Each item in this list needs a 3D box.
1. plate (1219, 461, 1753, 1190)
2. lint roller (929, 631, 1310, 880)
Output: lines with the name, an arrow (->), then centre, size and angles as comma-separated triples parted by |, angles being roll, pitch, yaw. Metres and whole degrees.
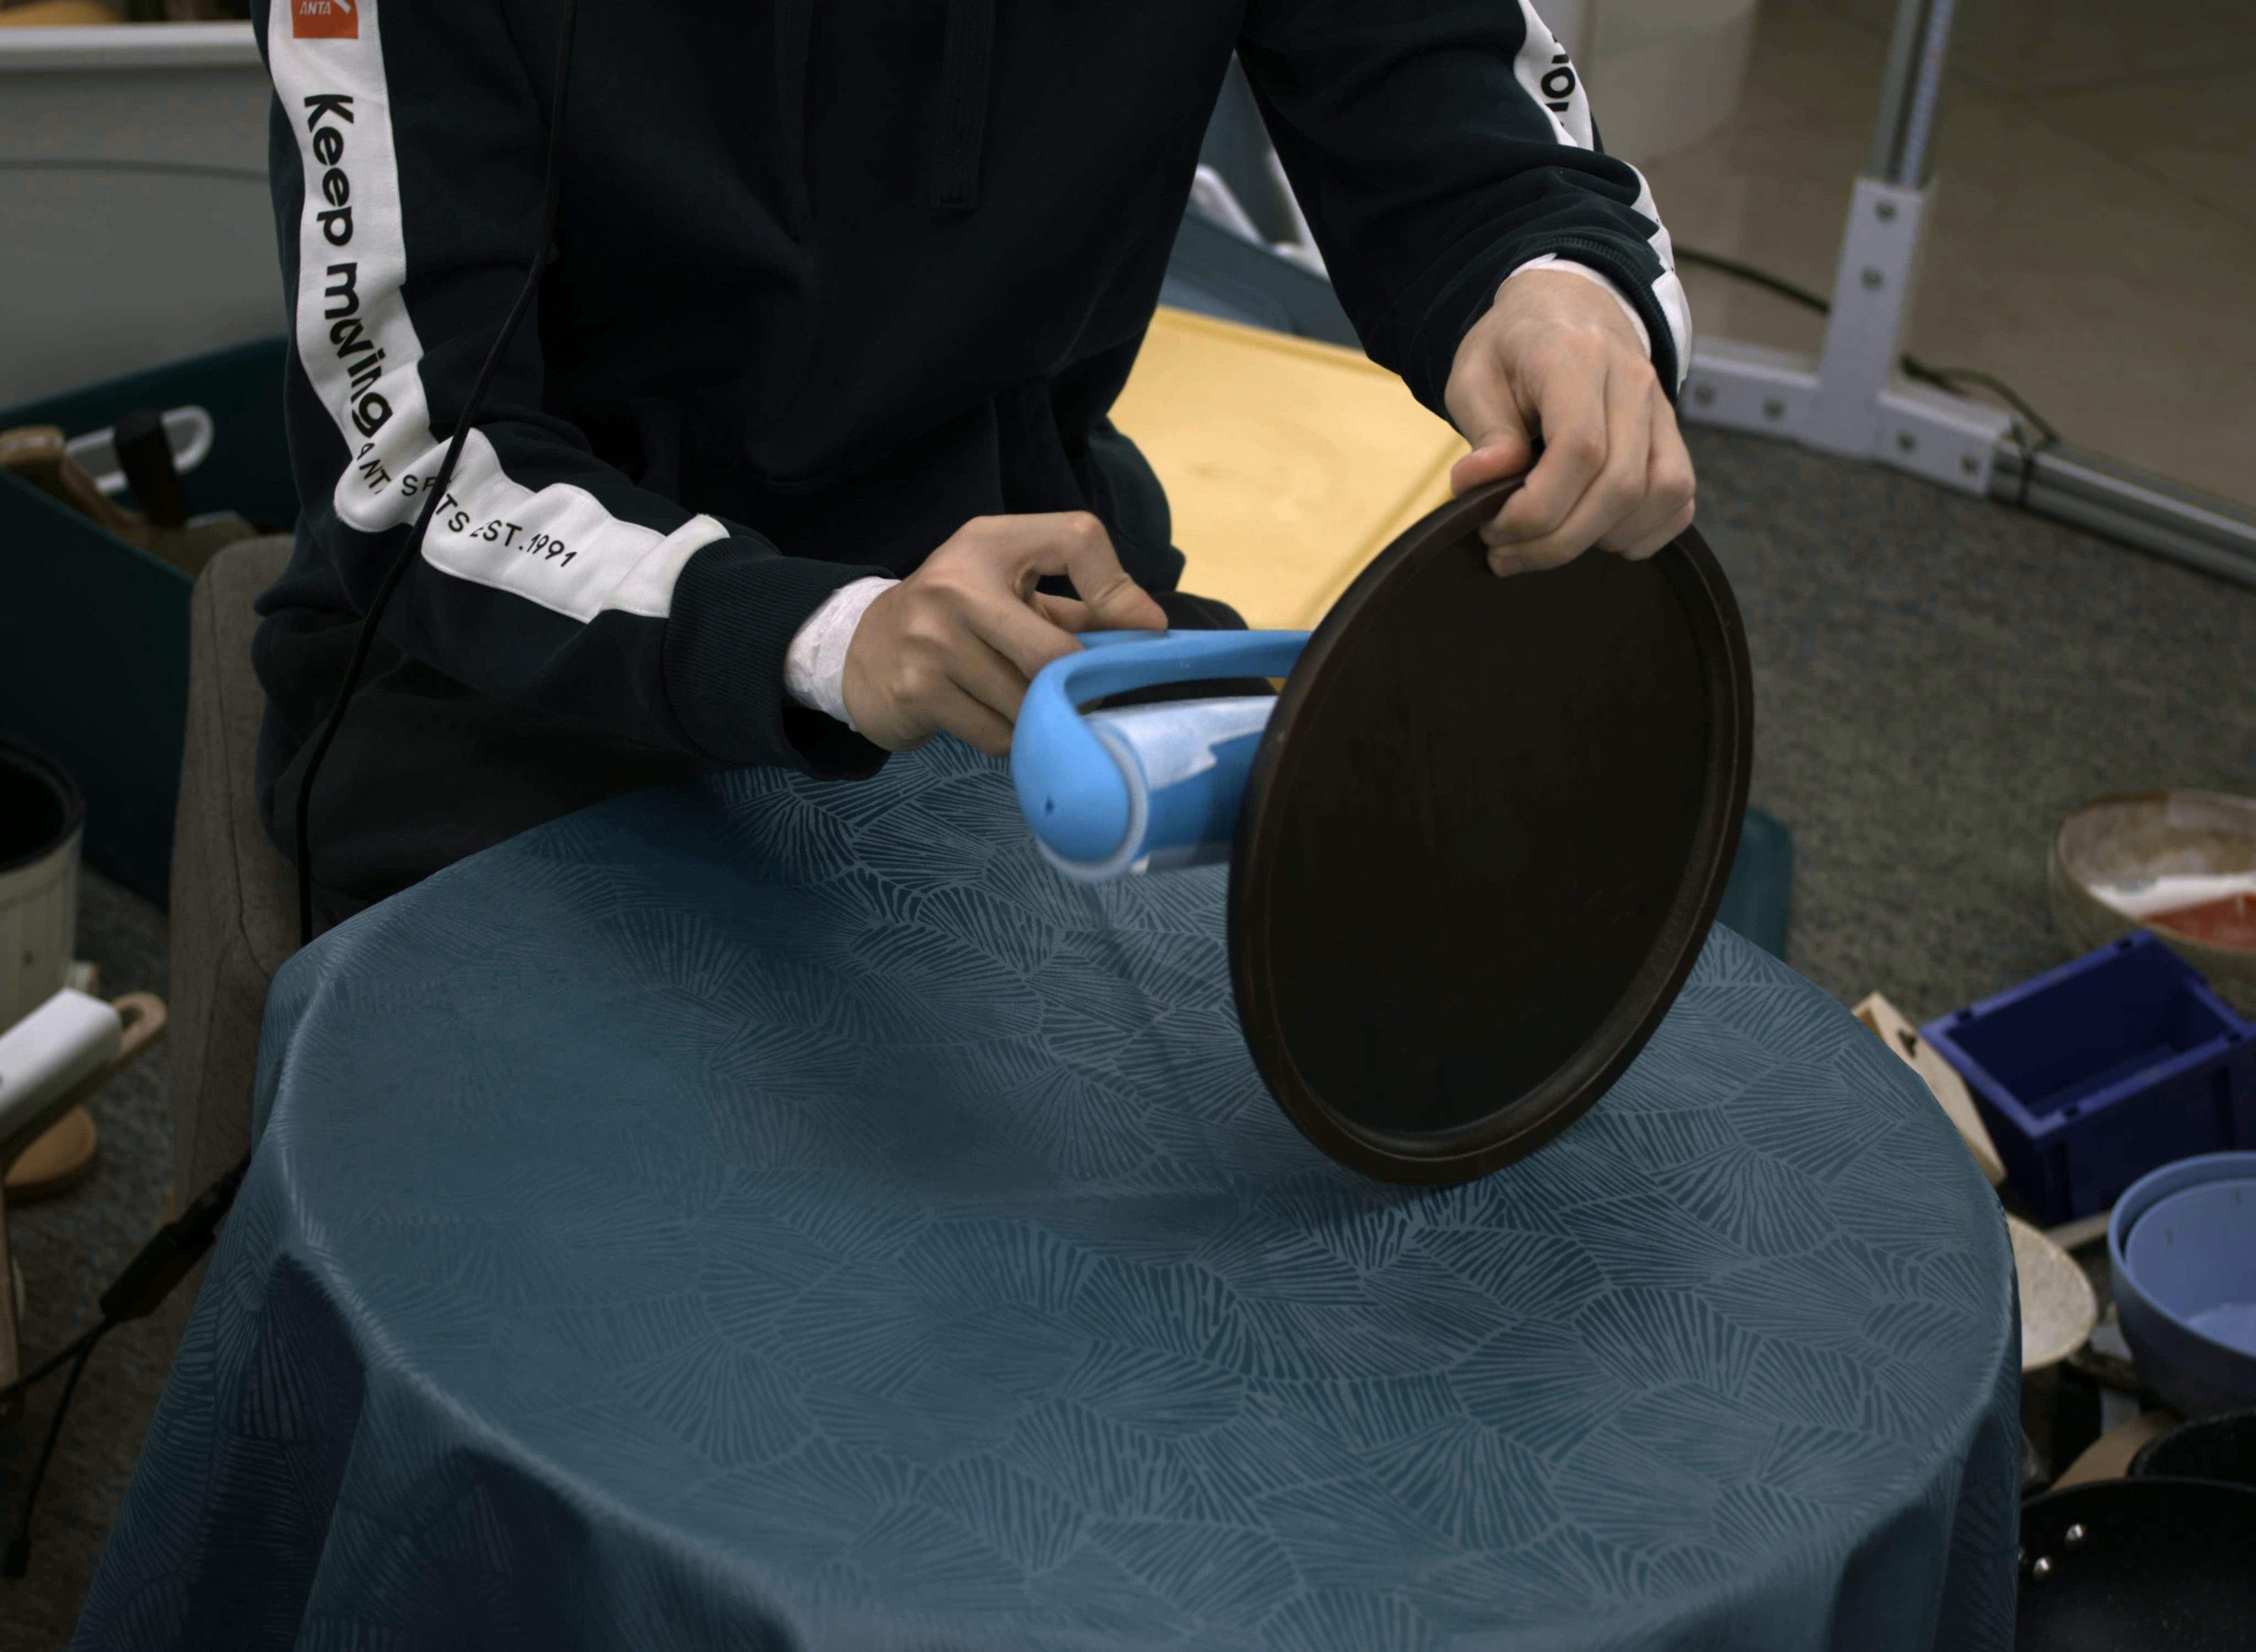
plate -> 0.122, 0.000, 1.797 | 0.253, 0.254, 0.029 | -18, 28, -41
lint roller -> 0.003, -0.036, 1.821 | 0.181, 0.068, 0.227 | 24, 20, 35
